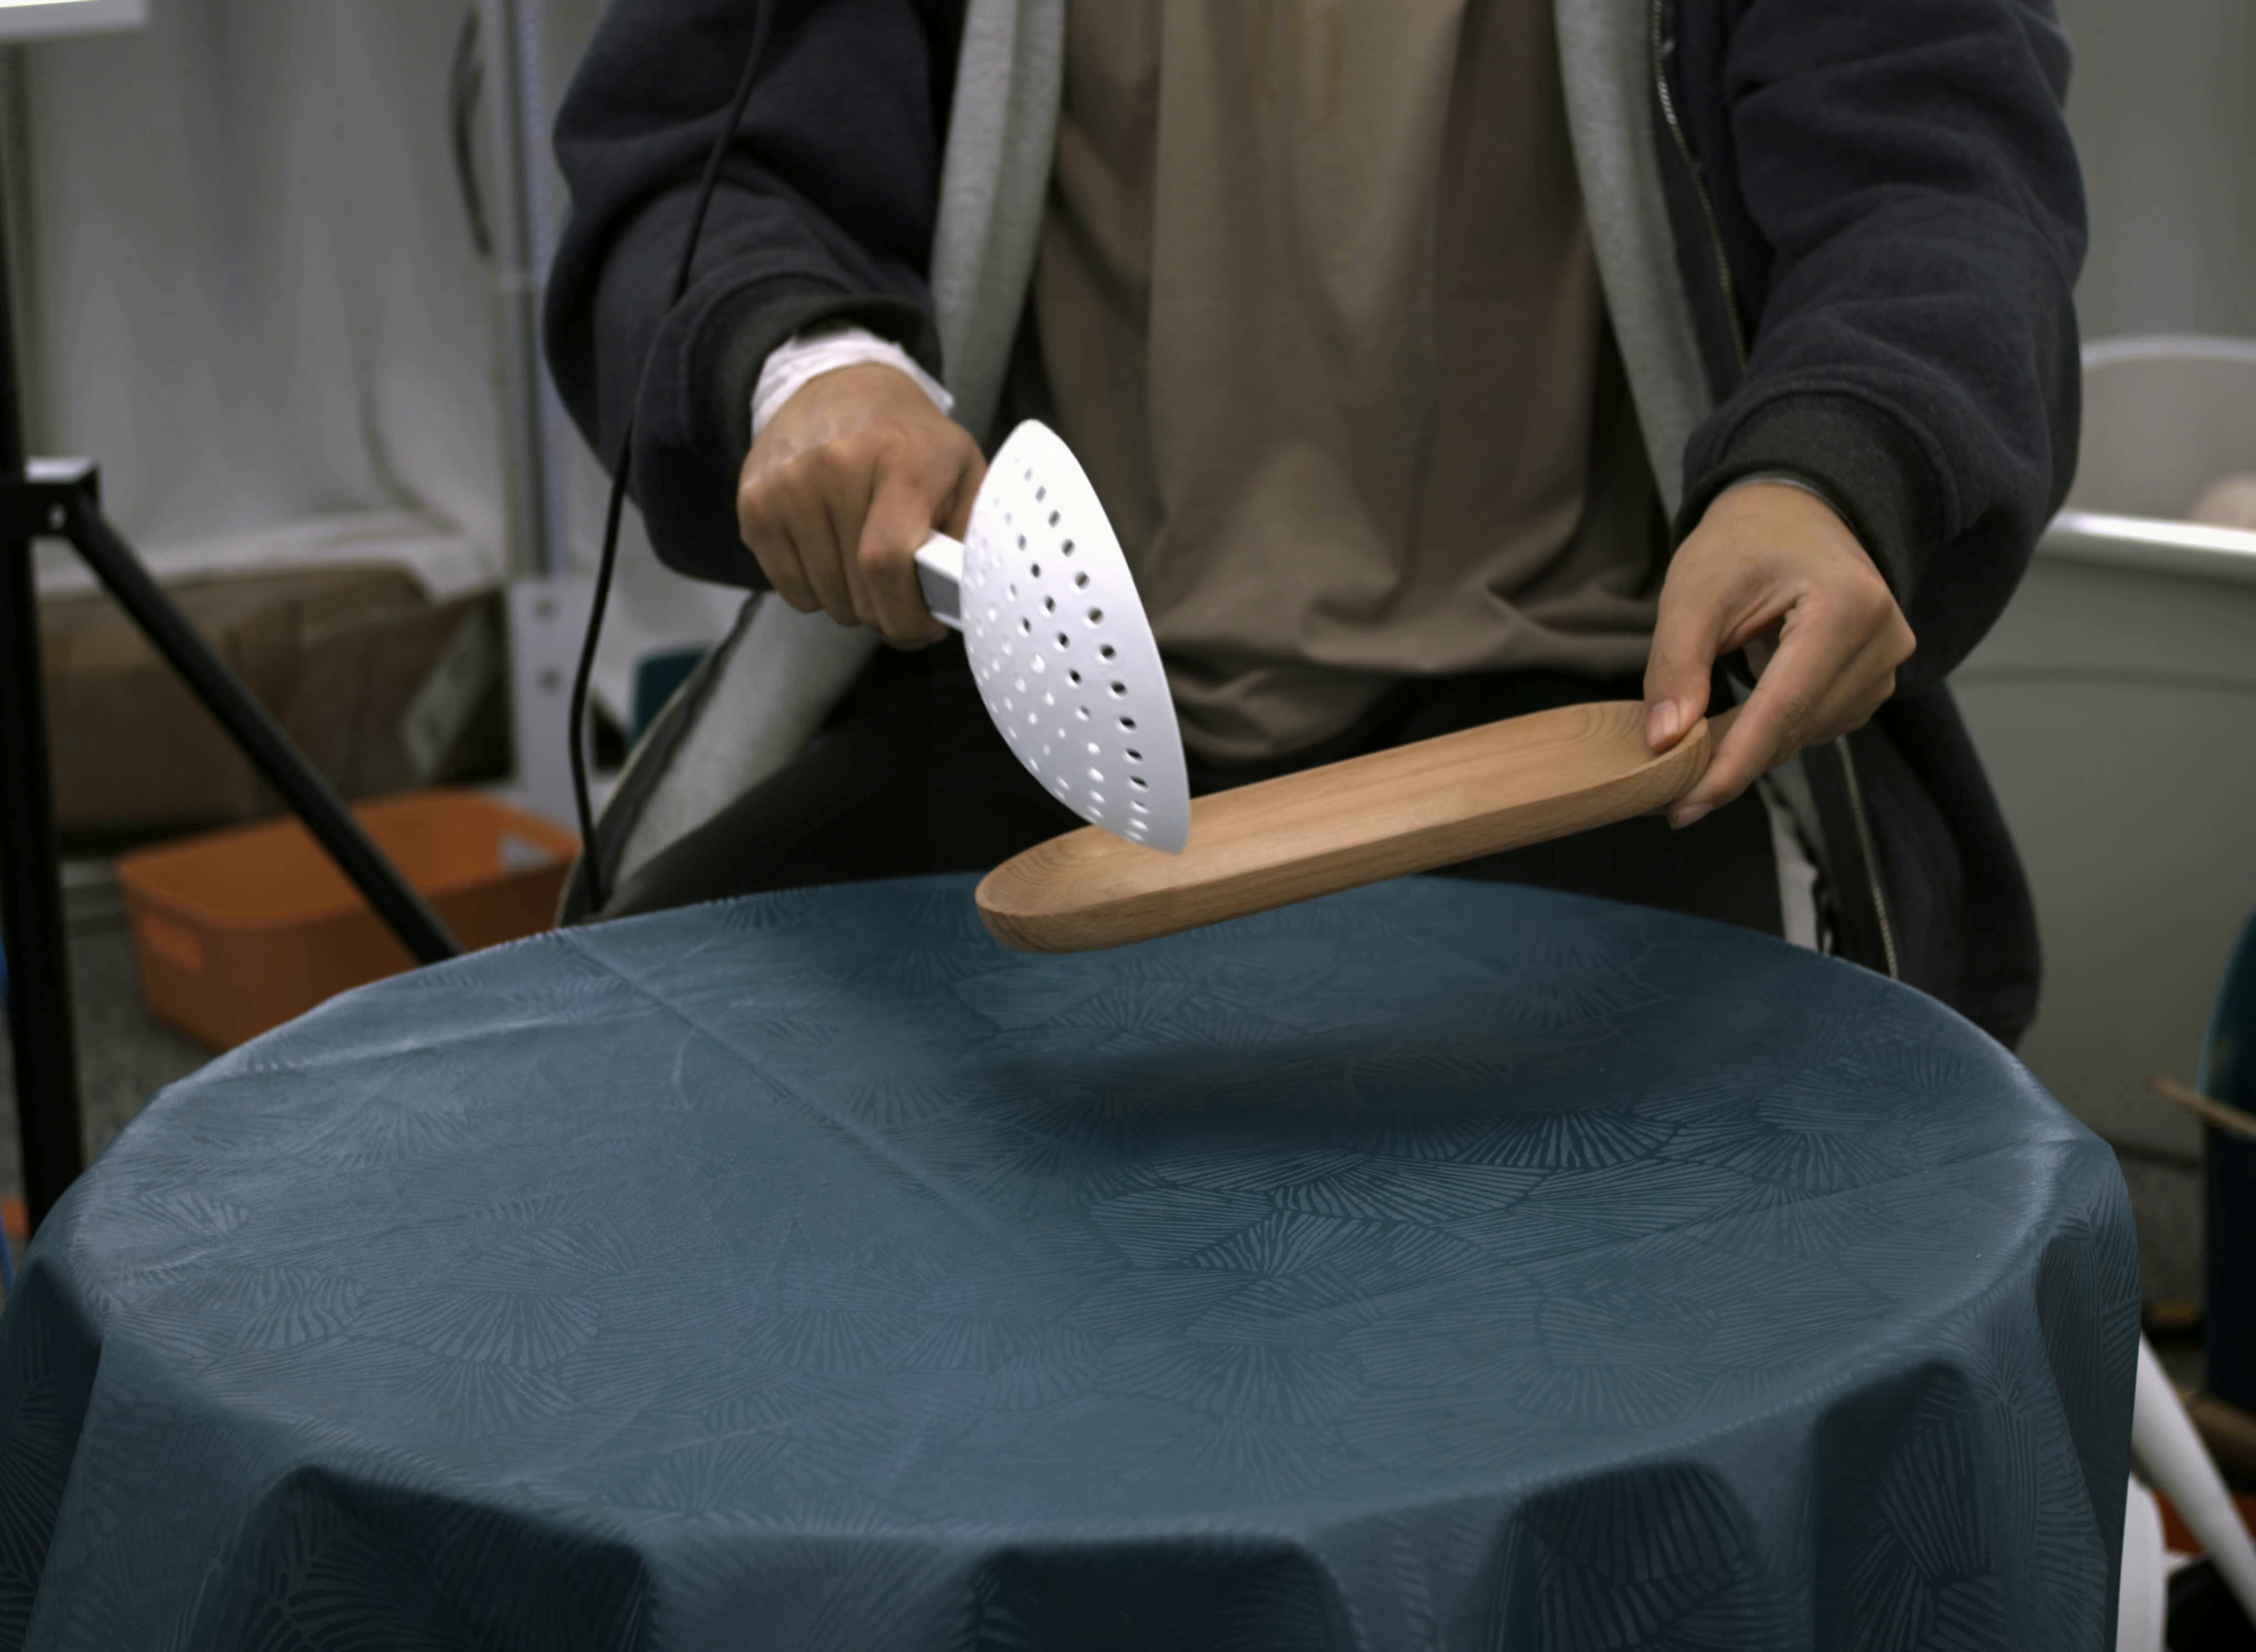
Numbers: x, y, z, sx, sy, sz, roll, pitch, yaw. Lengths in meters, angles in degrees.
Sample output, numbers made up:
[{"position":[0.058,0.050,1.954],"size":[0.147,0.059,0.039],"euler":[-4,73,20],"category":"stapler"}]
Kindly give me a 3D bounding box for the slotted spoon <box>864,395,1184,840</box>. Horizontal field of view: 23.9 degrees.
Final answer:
[{"position":[-0.041,-0.073,1.678],"size":[0.045,0.136,0.353],"euler":[-16,11,-7],"category":"slotted spoon"}]

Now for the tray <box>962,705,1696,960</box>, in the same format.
[{"position":[0.062,0.002,1.627],"size":[0.230,0.020,0.102],"euler":[-16,13,-1],"category":"tray"}]
